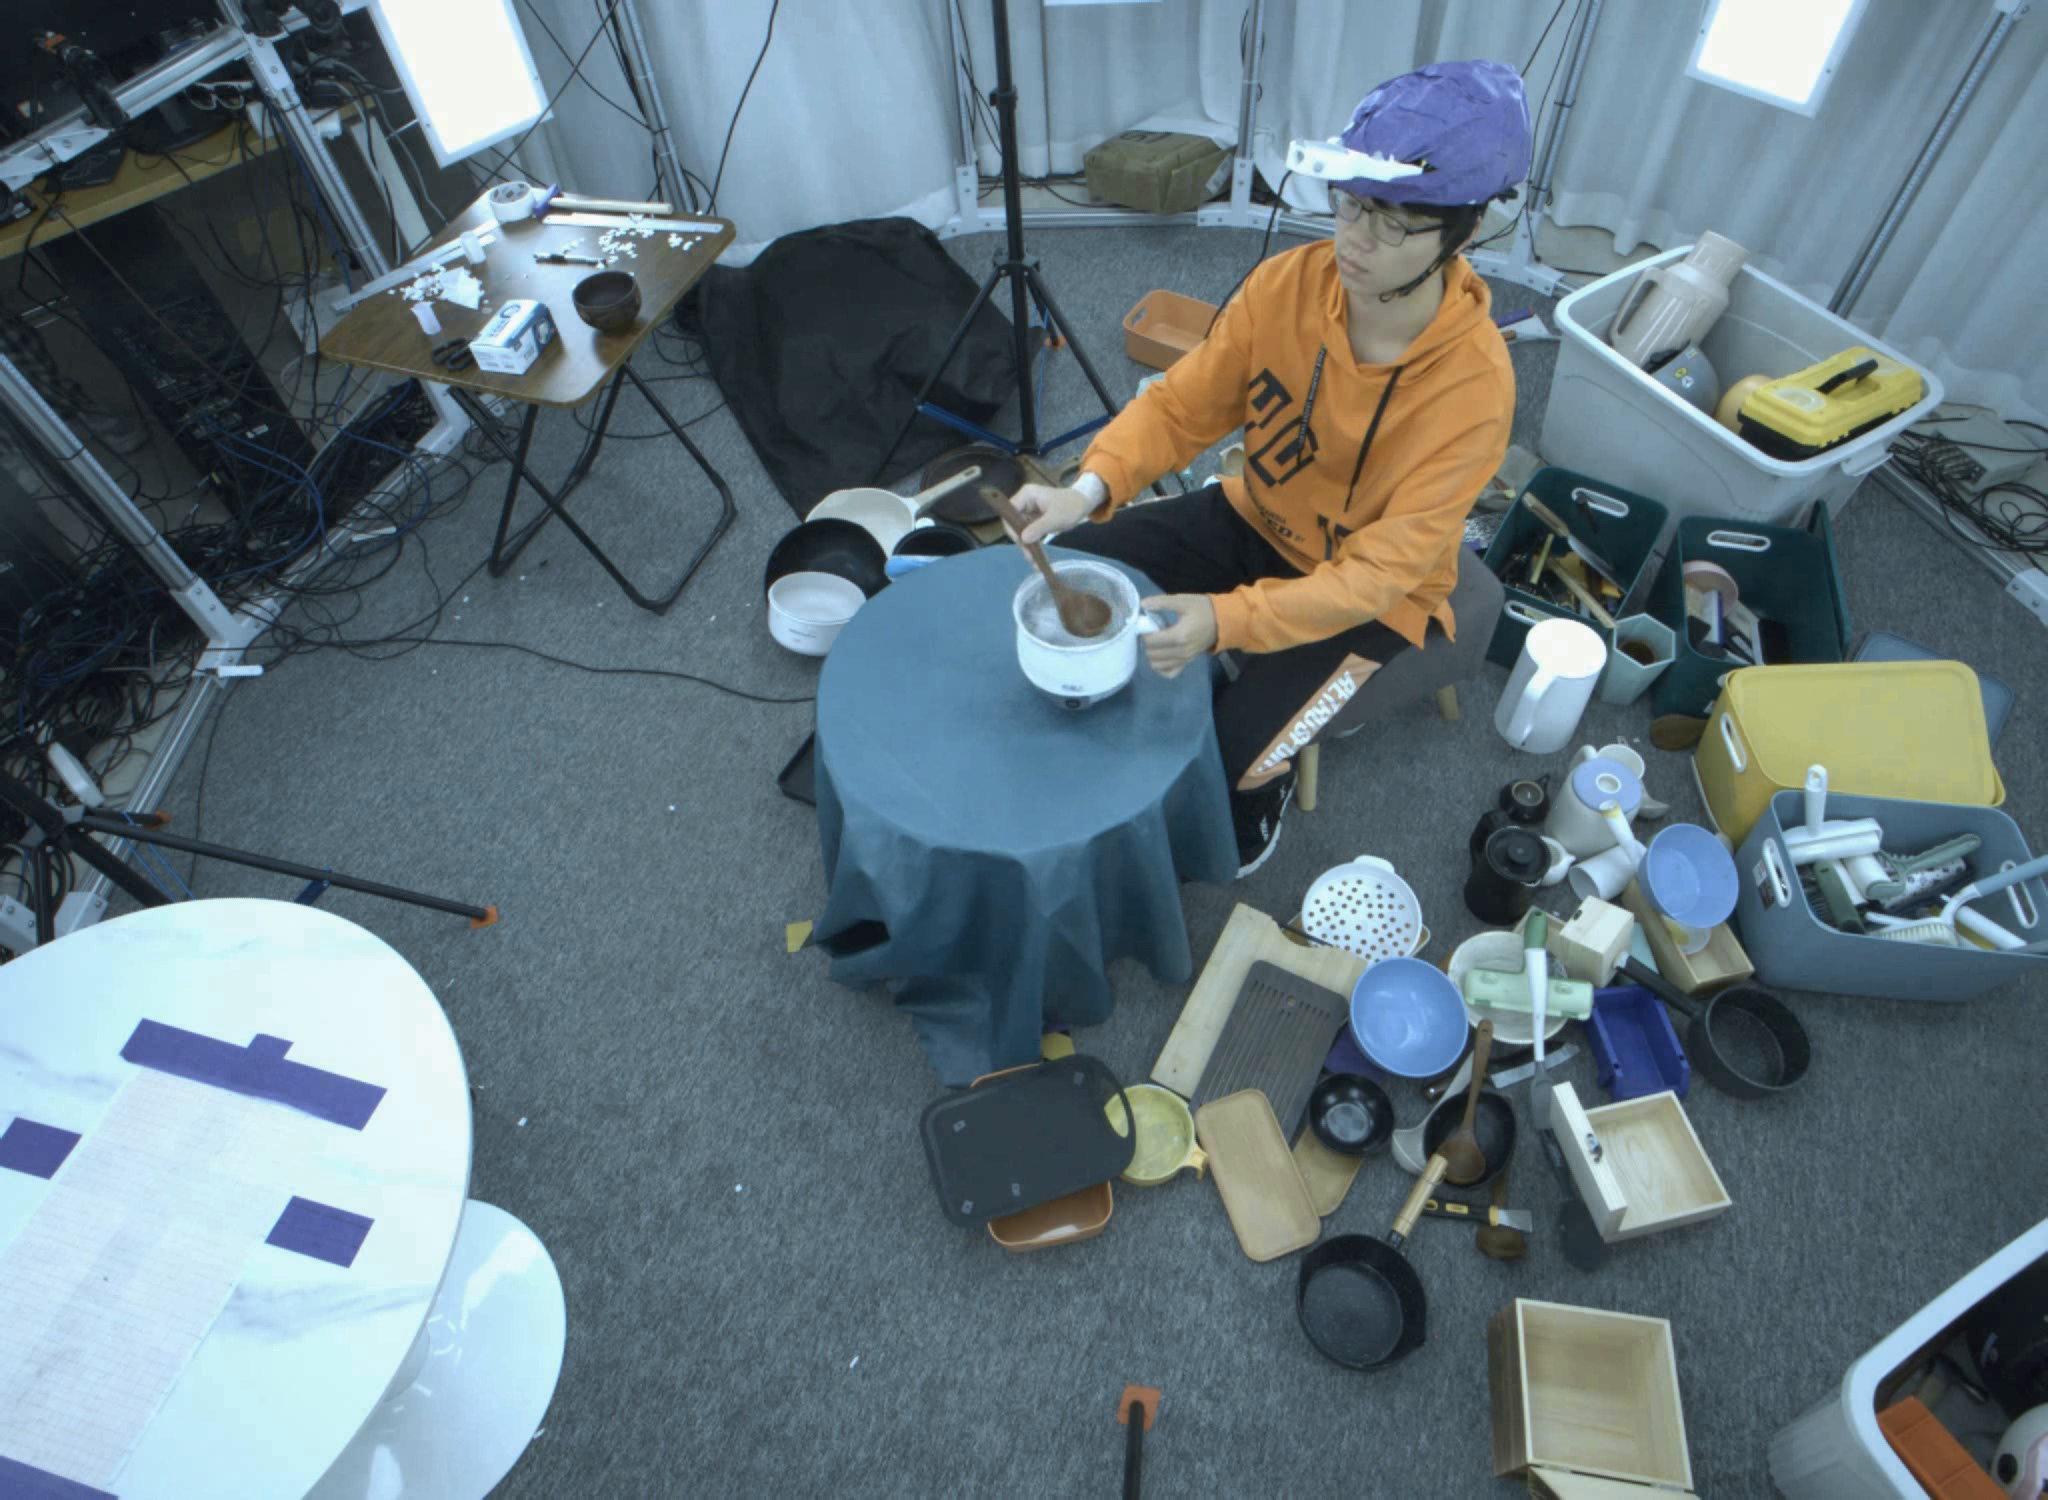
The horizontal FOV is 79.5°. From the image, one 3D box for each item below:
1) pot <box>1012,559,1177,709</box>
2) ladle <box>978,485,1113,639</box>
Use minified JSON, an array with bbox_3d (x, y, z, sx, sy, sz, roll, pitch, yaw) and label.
[{"bbox_3d":[0.103,-0.165,1.763,0.233,0.138,0.177,2,55,5],"label":"pot"},{"bbox_3d":[0.029,-0.263,1.685,0.077,0.064,0.263,-46,108,-34],"label":"ladle"}]
